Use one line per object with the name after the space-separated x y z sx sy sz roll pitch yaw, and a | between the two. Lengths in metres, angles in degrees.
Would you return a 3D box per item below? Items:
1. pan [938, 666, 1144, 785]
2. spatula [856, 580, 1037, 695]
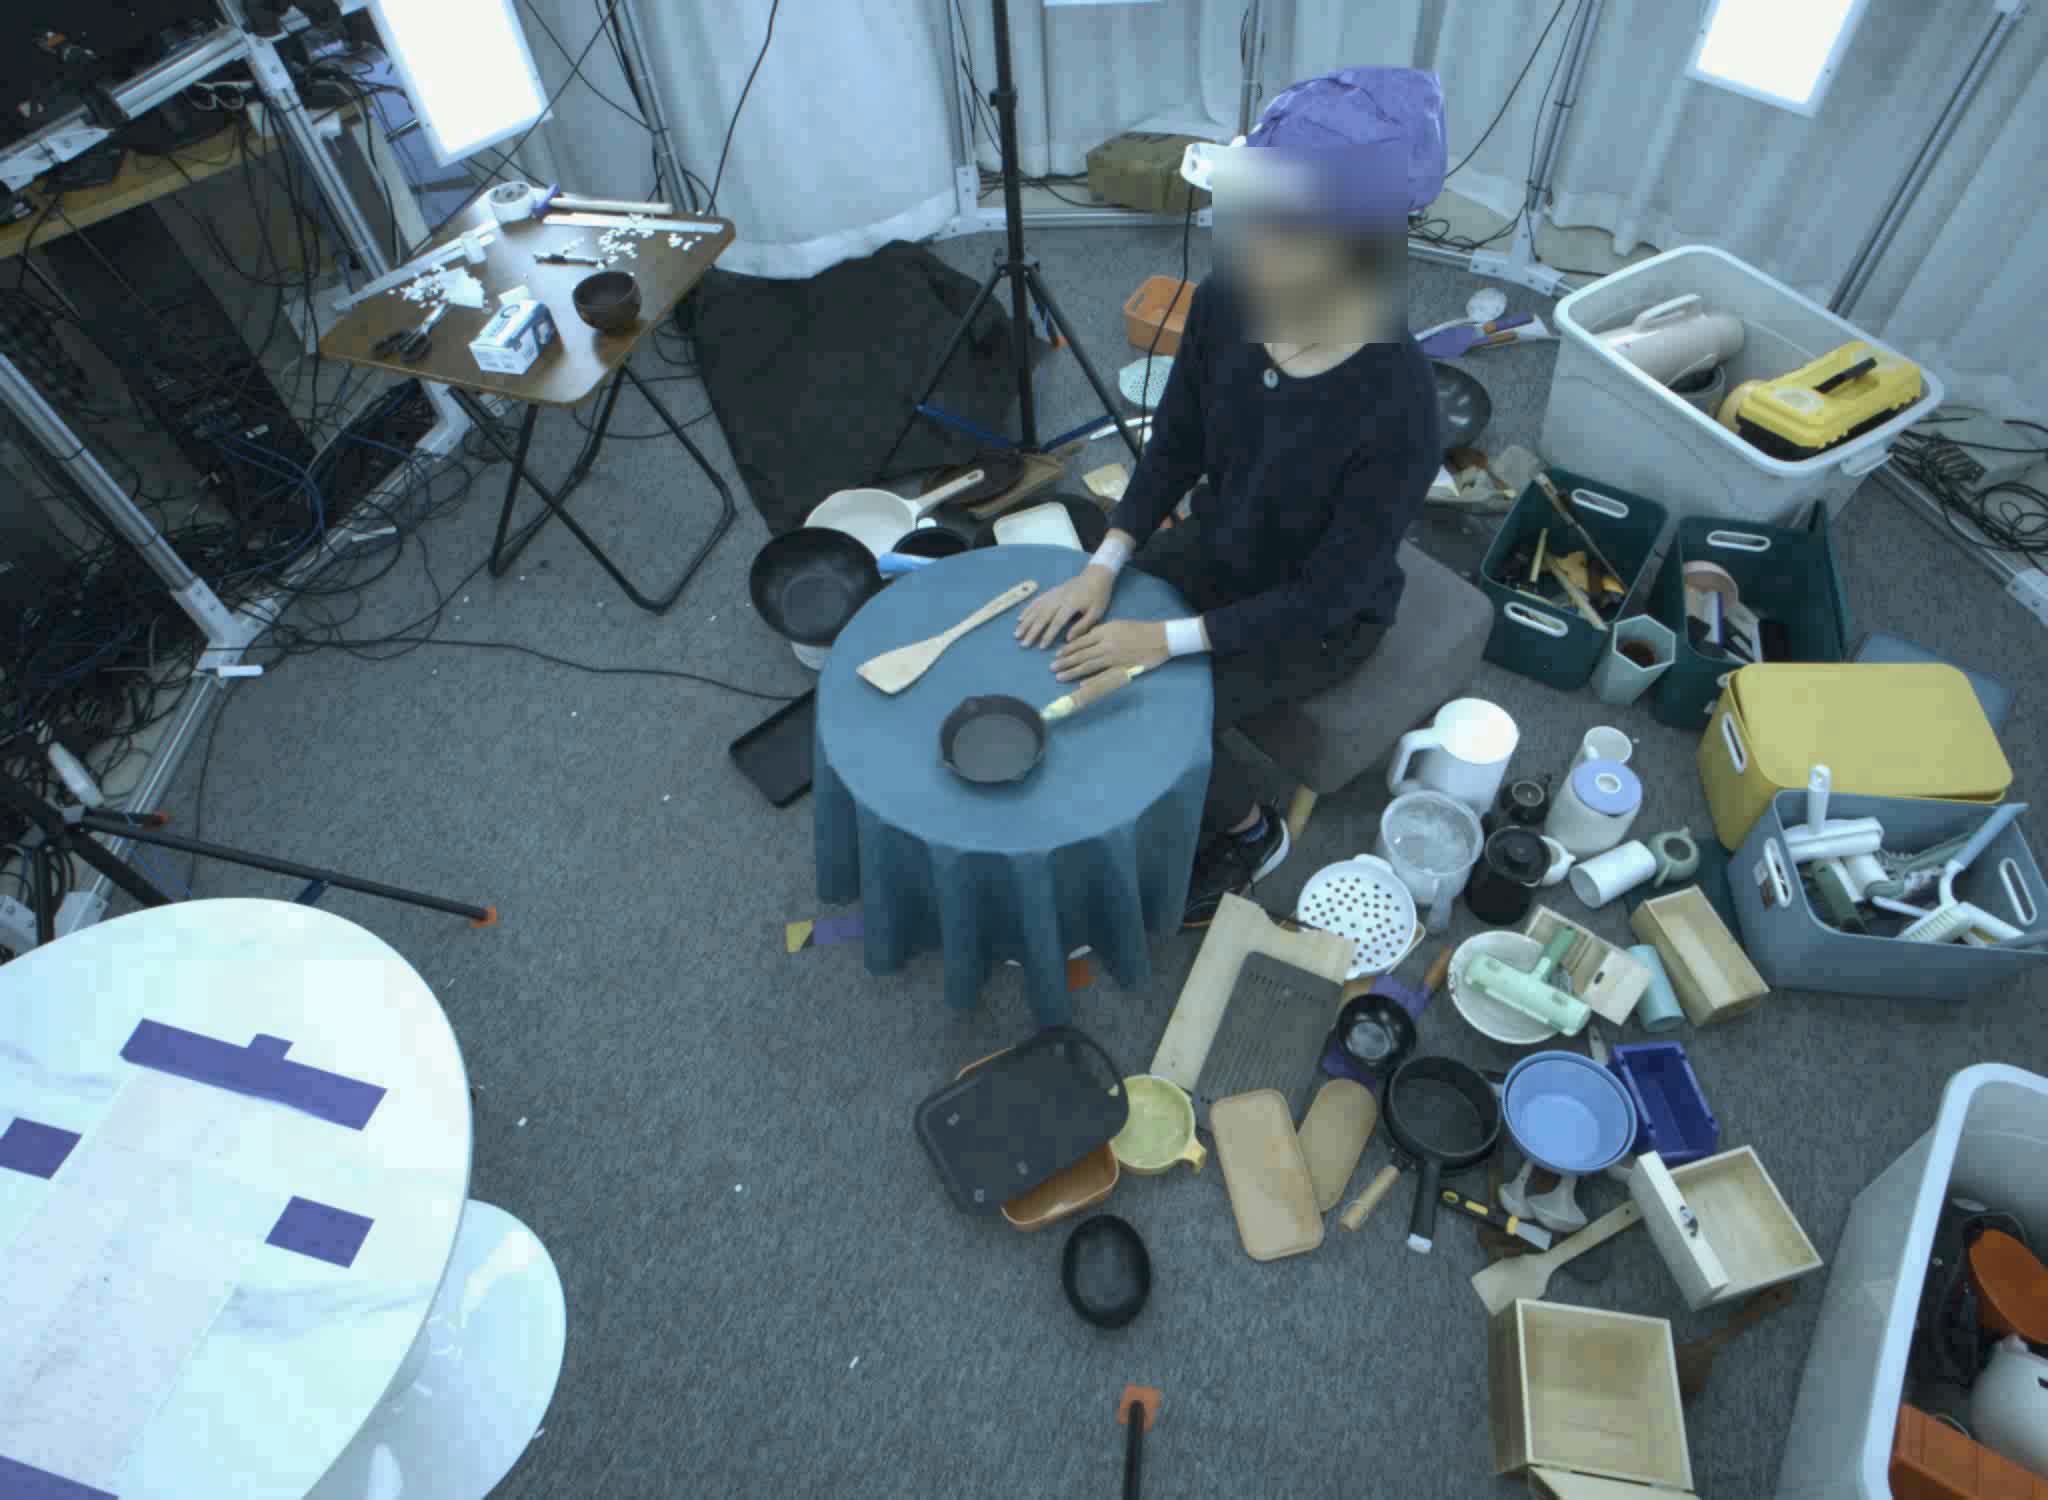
0.032 -0.048 1.788 0.326 0.050 0.166 -23 57 -12 | pan
-0.109 -0.183 1.910 0.330 0.017 0.078 -35 61 -20 | spatula
